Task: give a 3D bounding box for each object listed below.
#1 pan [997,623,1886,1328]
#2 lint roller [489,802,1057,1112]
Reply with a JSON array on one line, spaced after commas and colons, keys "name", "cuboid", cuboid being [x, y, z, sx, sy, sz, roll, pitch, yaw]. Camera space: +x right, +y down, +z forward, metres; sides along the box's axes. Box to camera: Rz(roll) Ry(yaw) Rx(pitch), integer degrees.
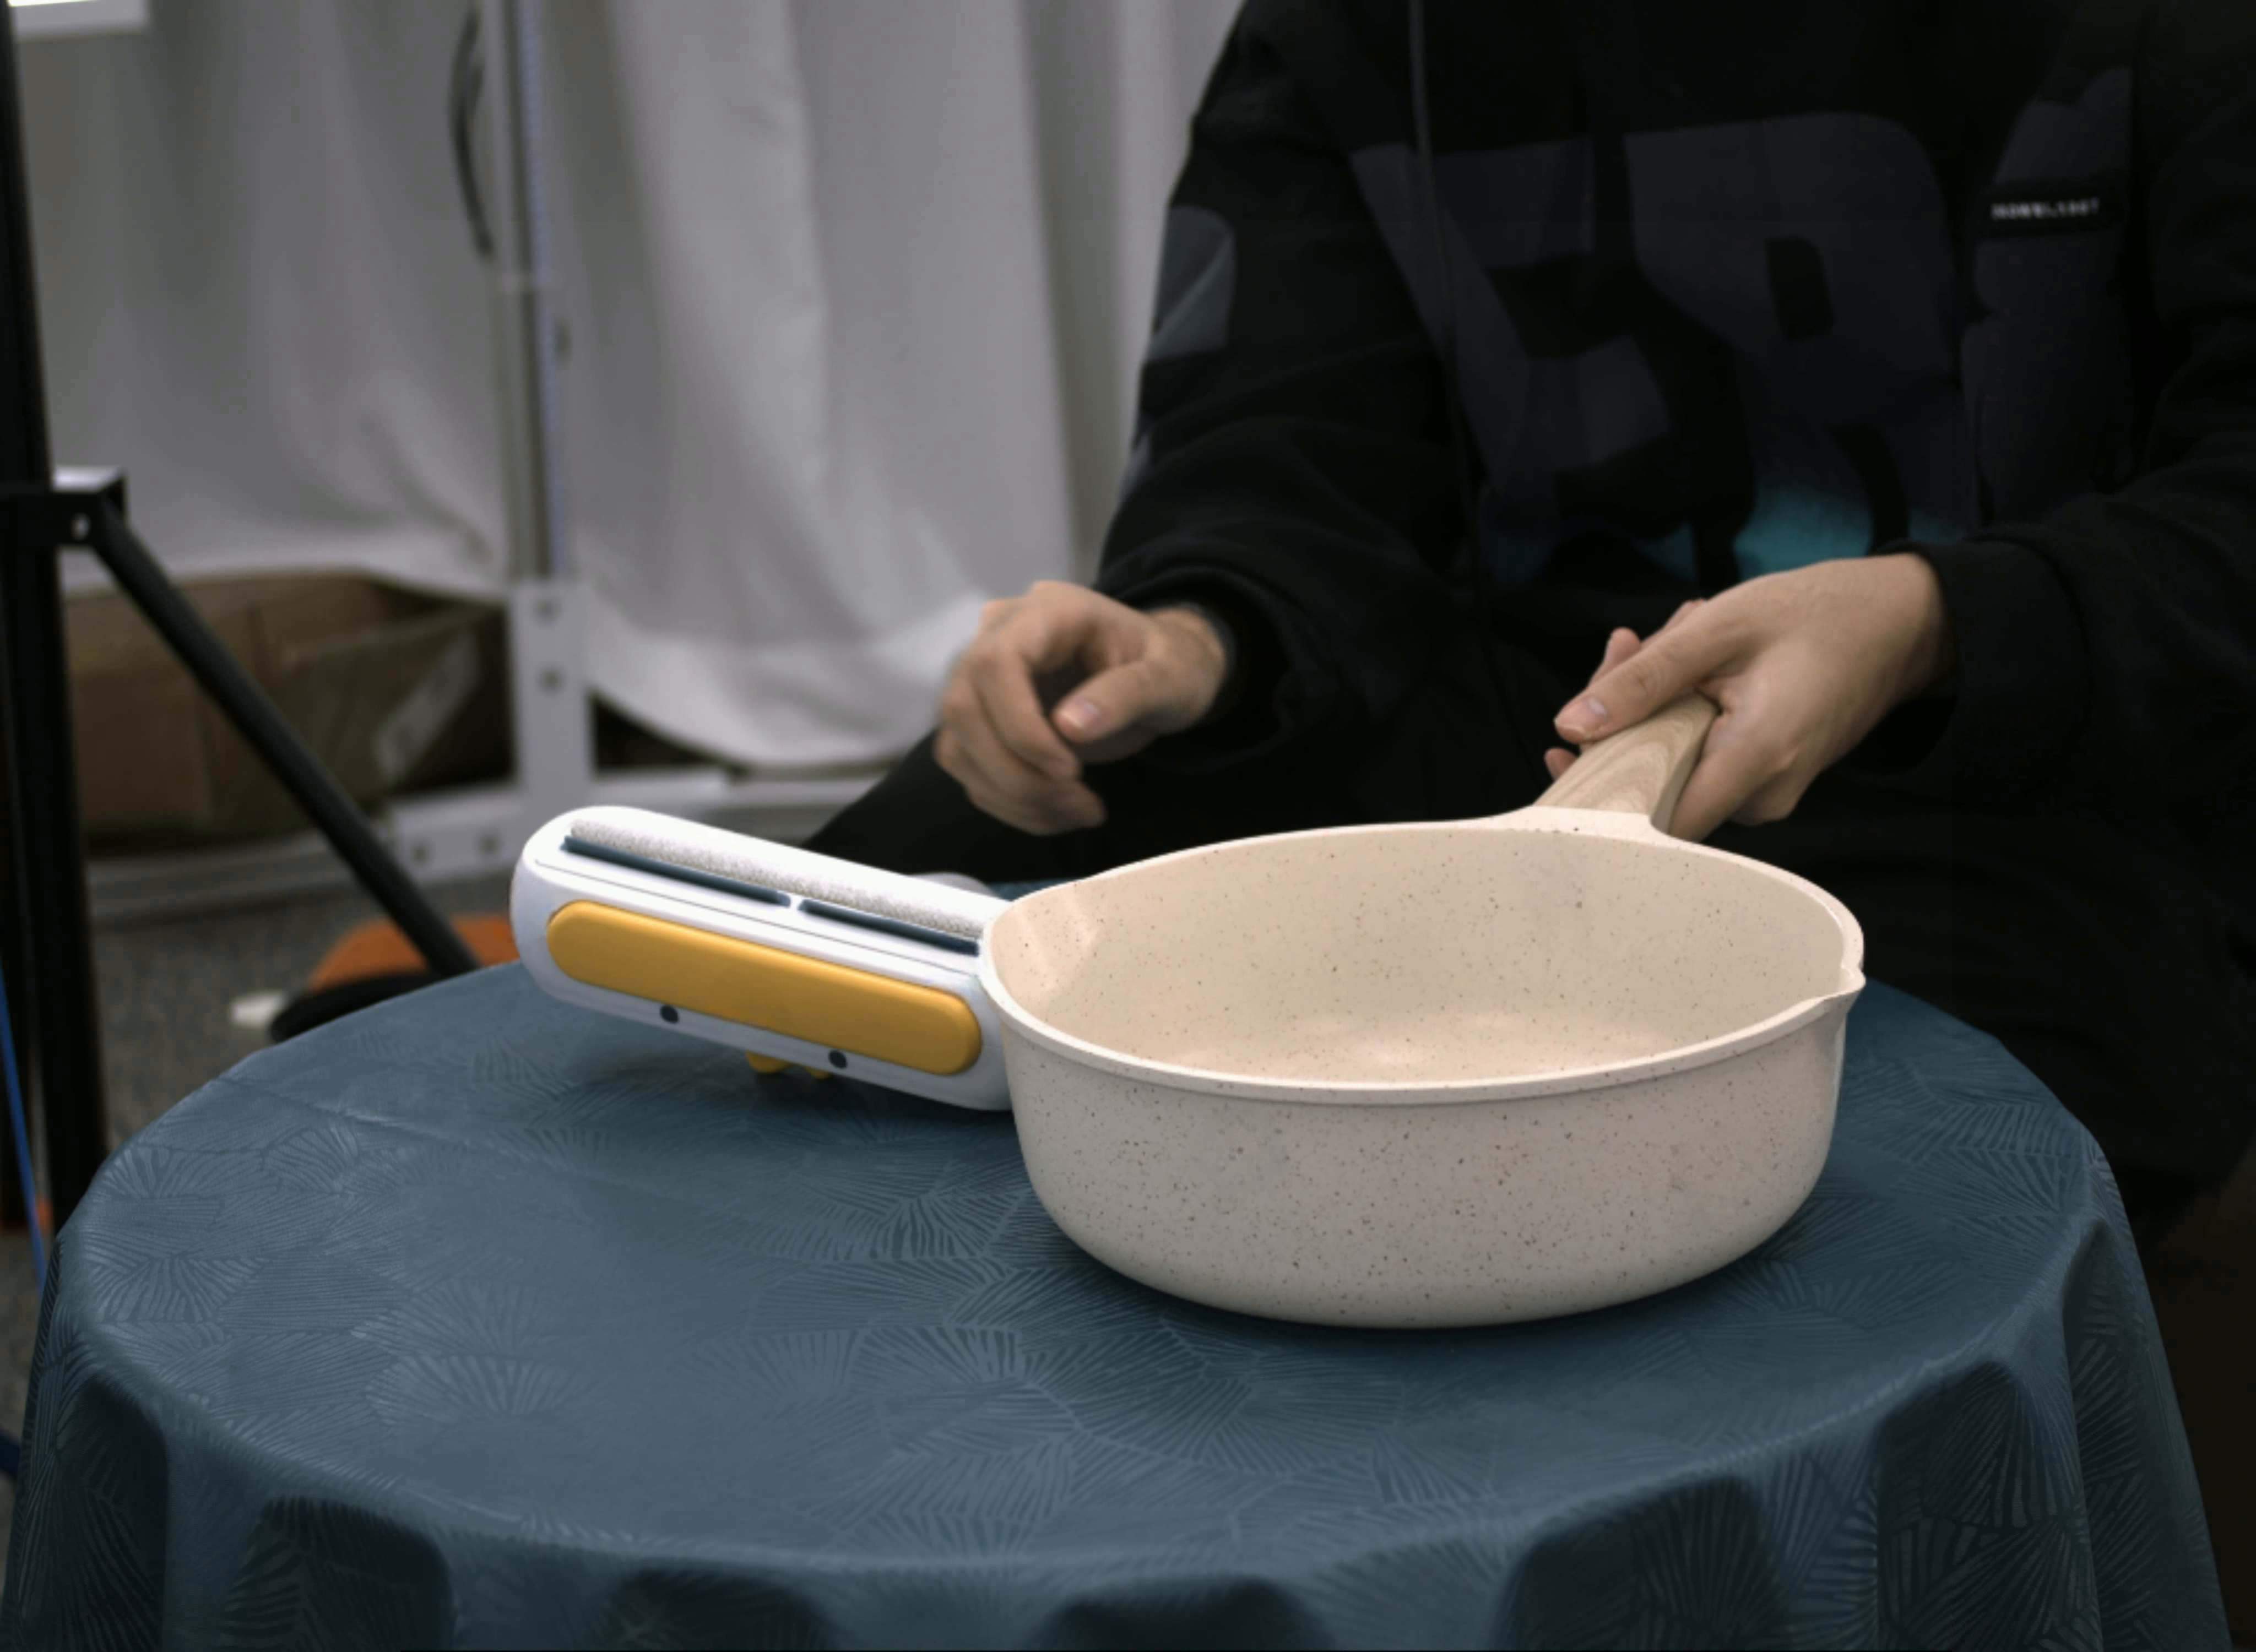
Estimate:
[{"name": "pan", "cuboid": [0.125, 0.041, 1.591, 0.267, 0.102, 0.428, 2, 17, 25]}, {"name": "lint roller", "cuboid": [-0.085, 0.033, 1.716, 0.195, 0.074, 0.189, 10, 18, 23]}]
